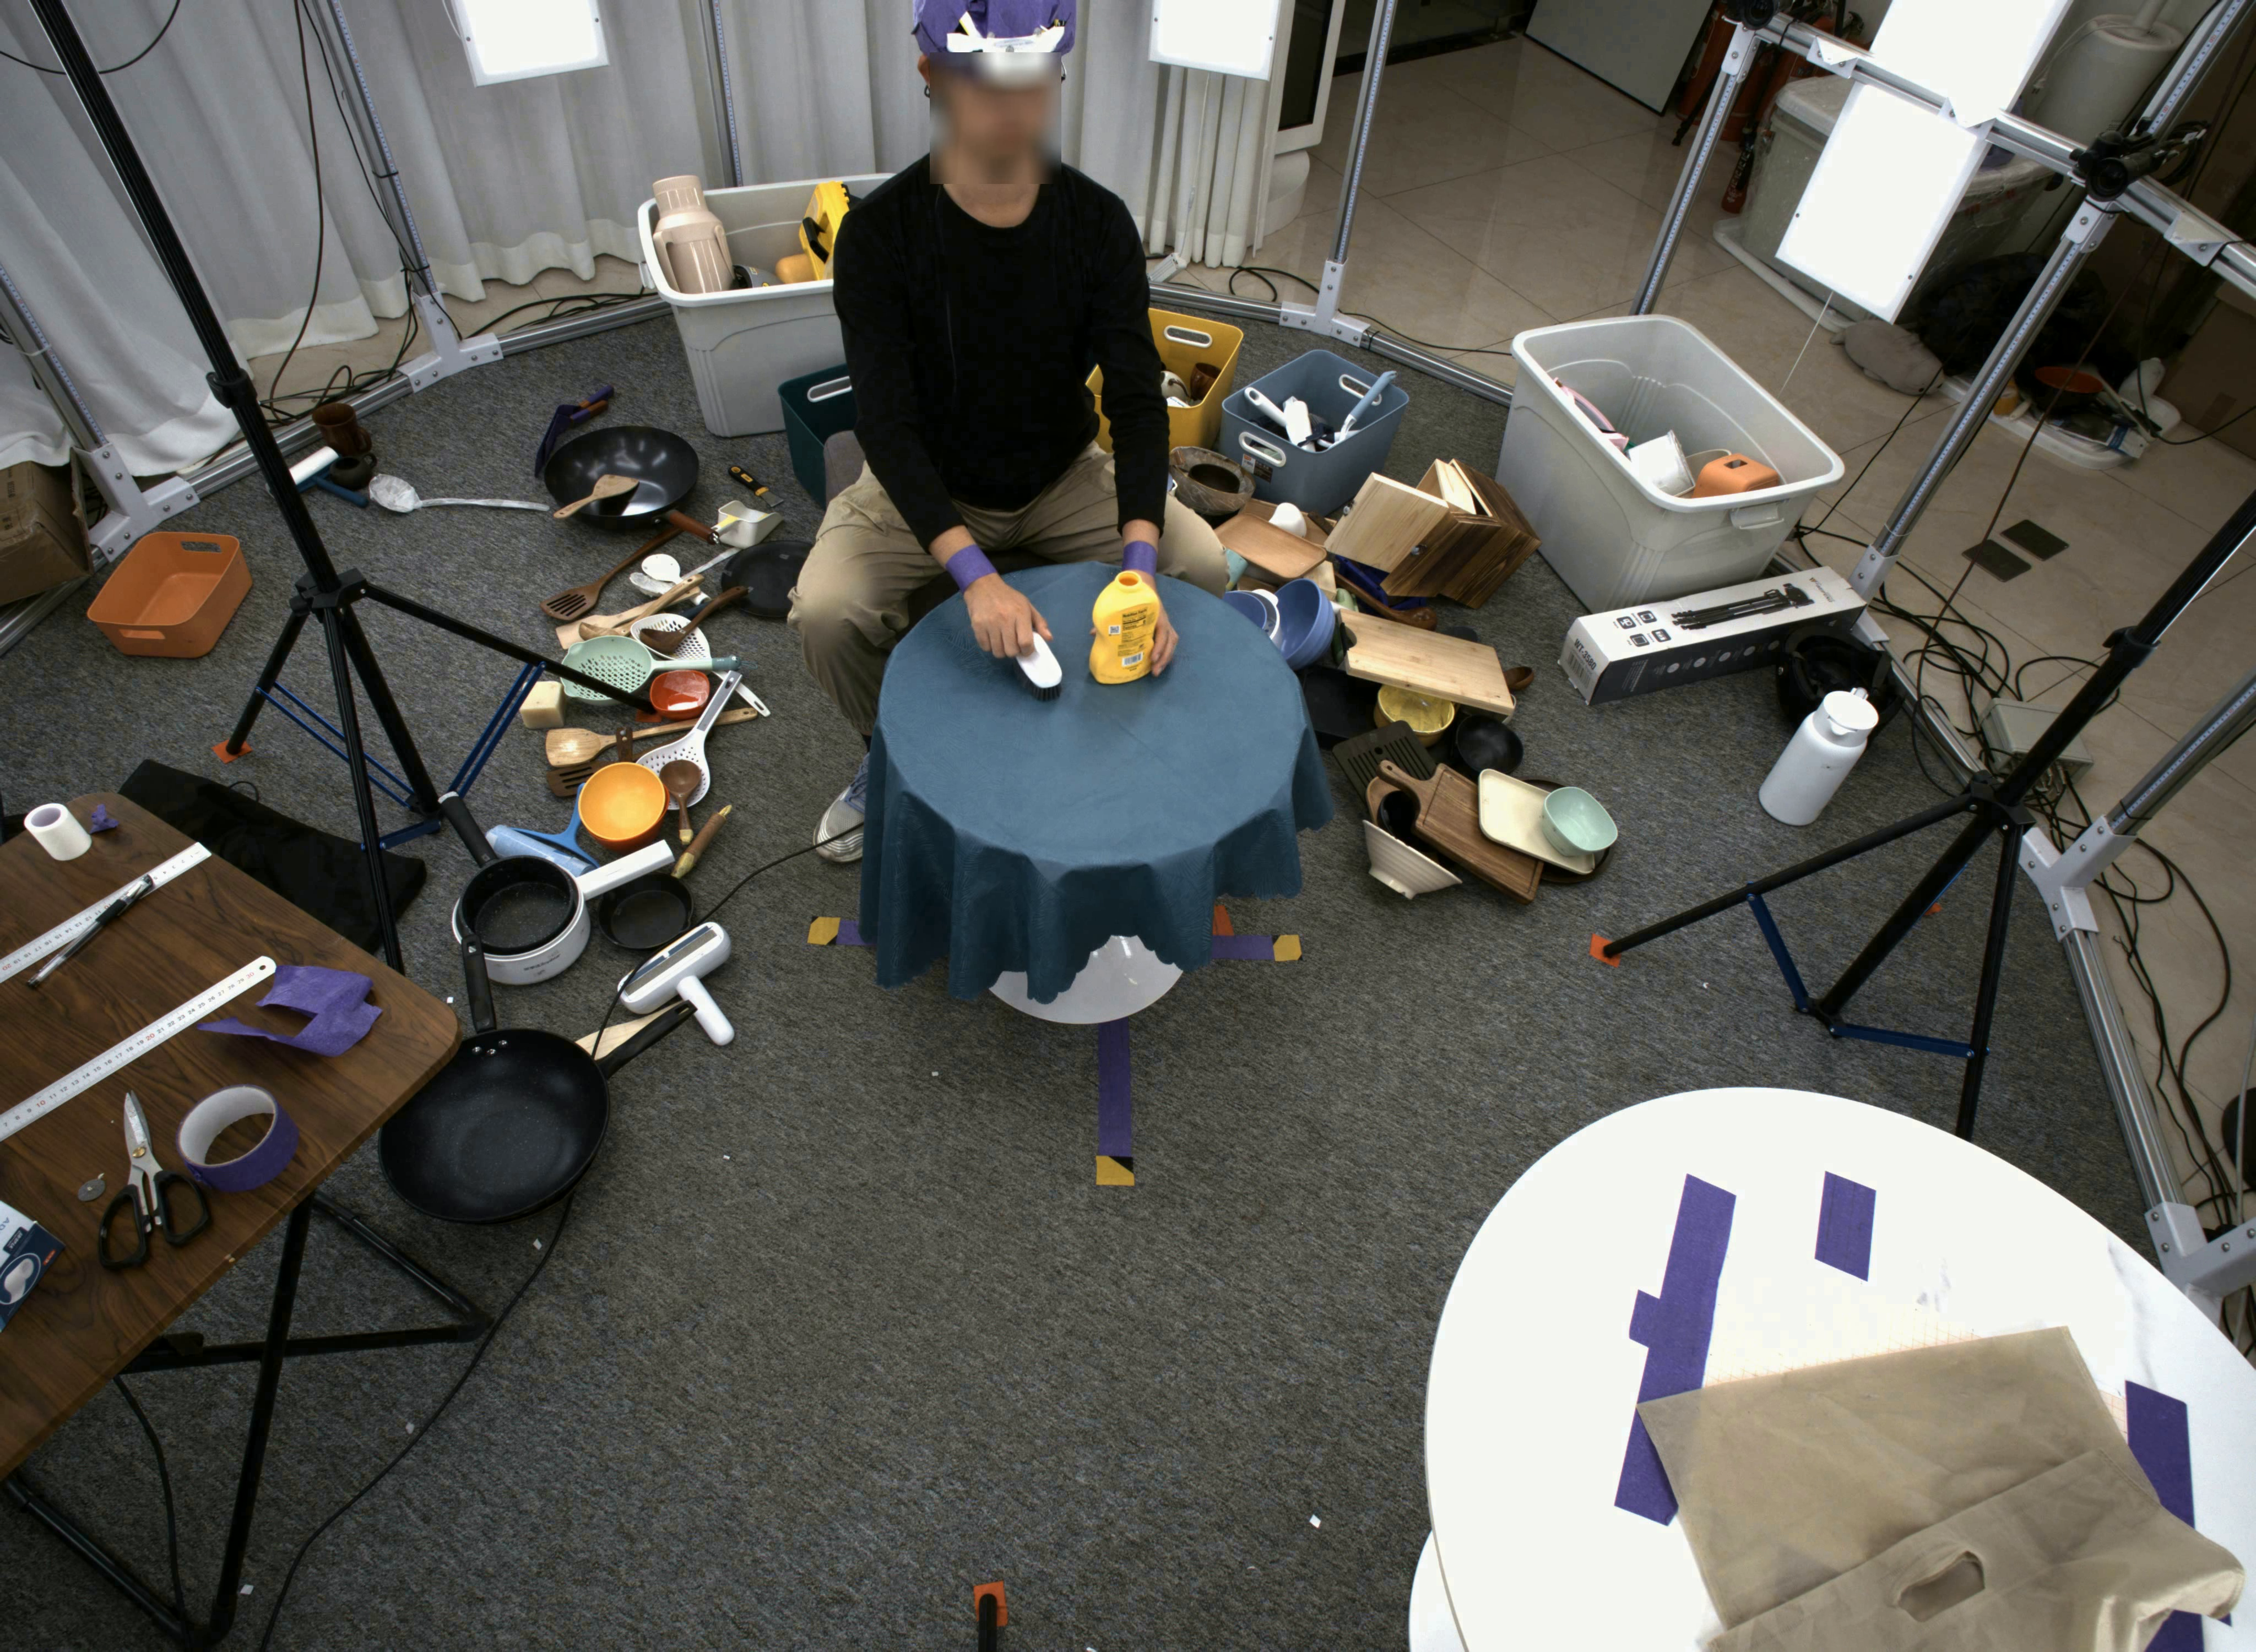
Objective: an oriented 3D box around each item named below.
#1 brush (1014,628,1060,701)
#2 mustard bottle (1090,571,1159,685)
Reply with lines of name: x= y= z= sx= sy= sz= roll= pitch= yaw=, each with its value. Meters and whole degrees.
brush: x=-0.128 y=-0.236 z=1.814 sx=0.050 sy=0.071 sz=0.101 roll=-16 pitch=53 yaw=-20
mustard bottle: x=-0.005 y=-0.279 z=1.800 sx=0.098 sy=0.168 sz=0.060 roll=-19 pitch=51 yaw=-18
